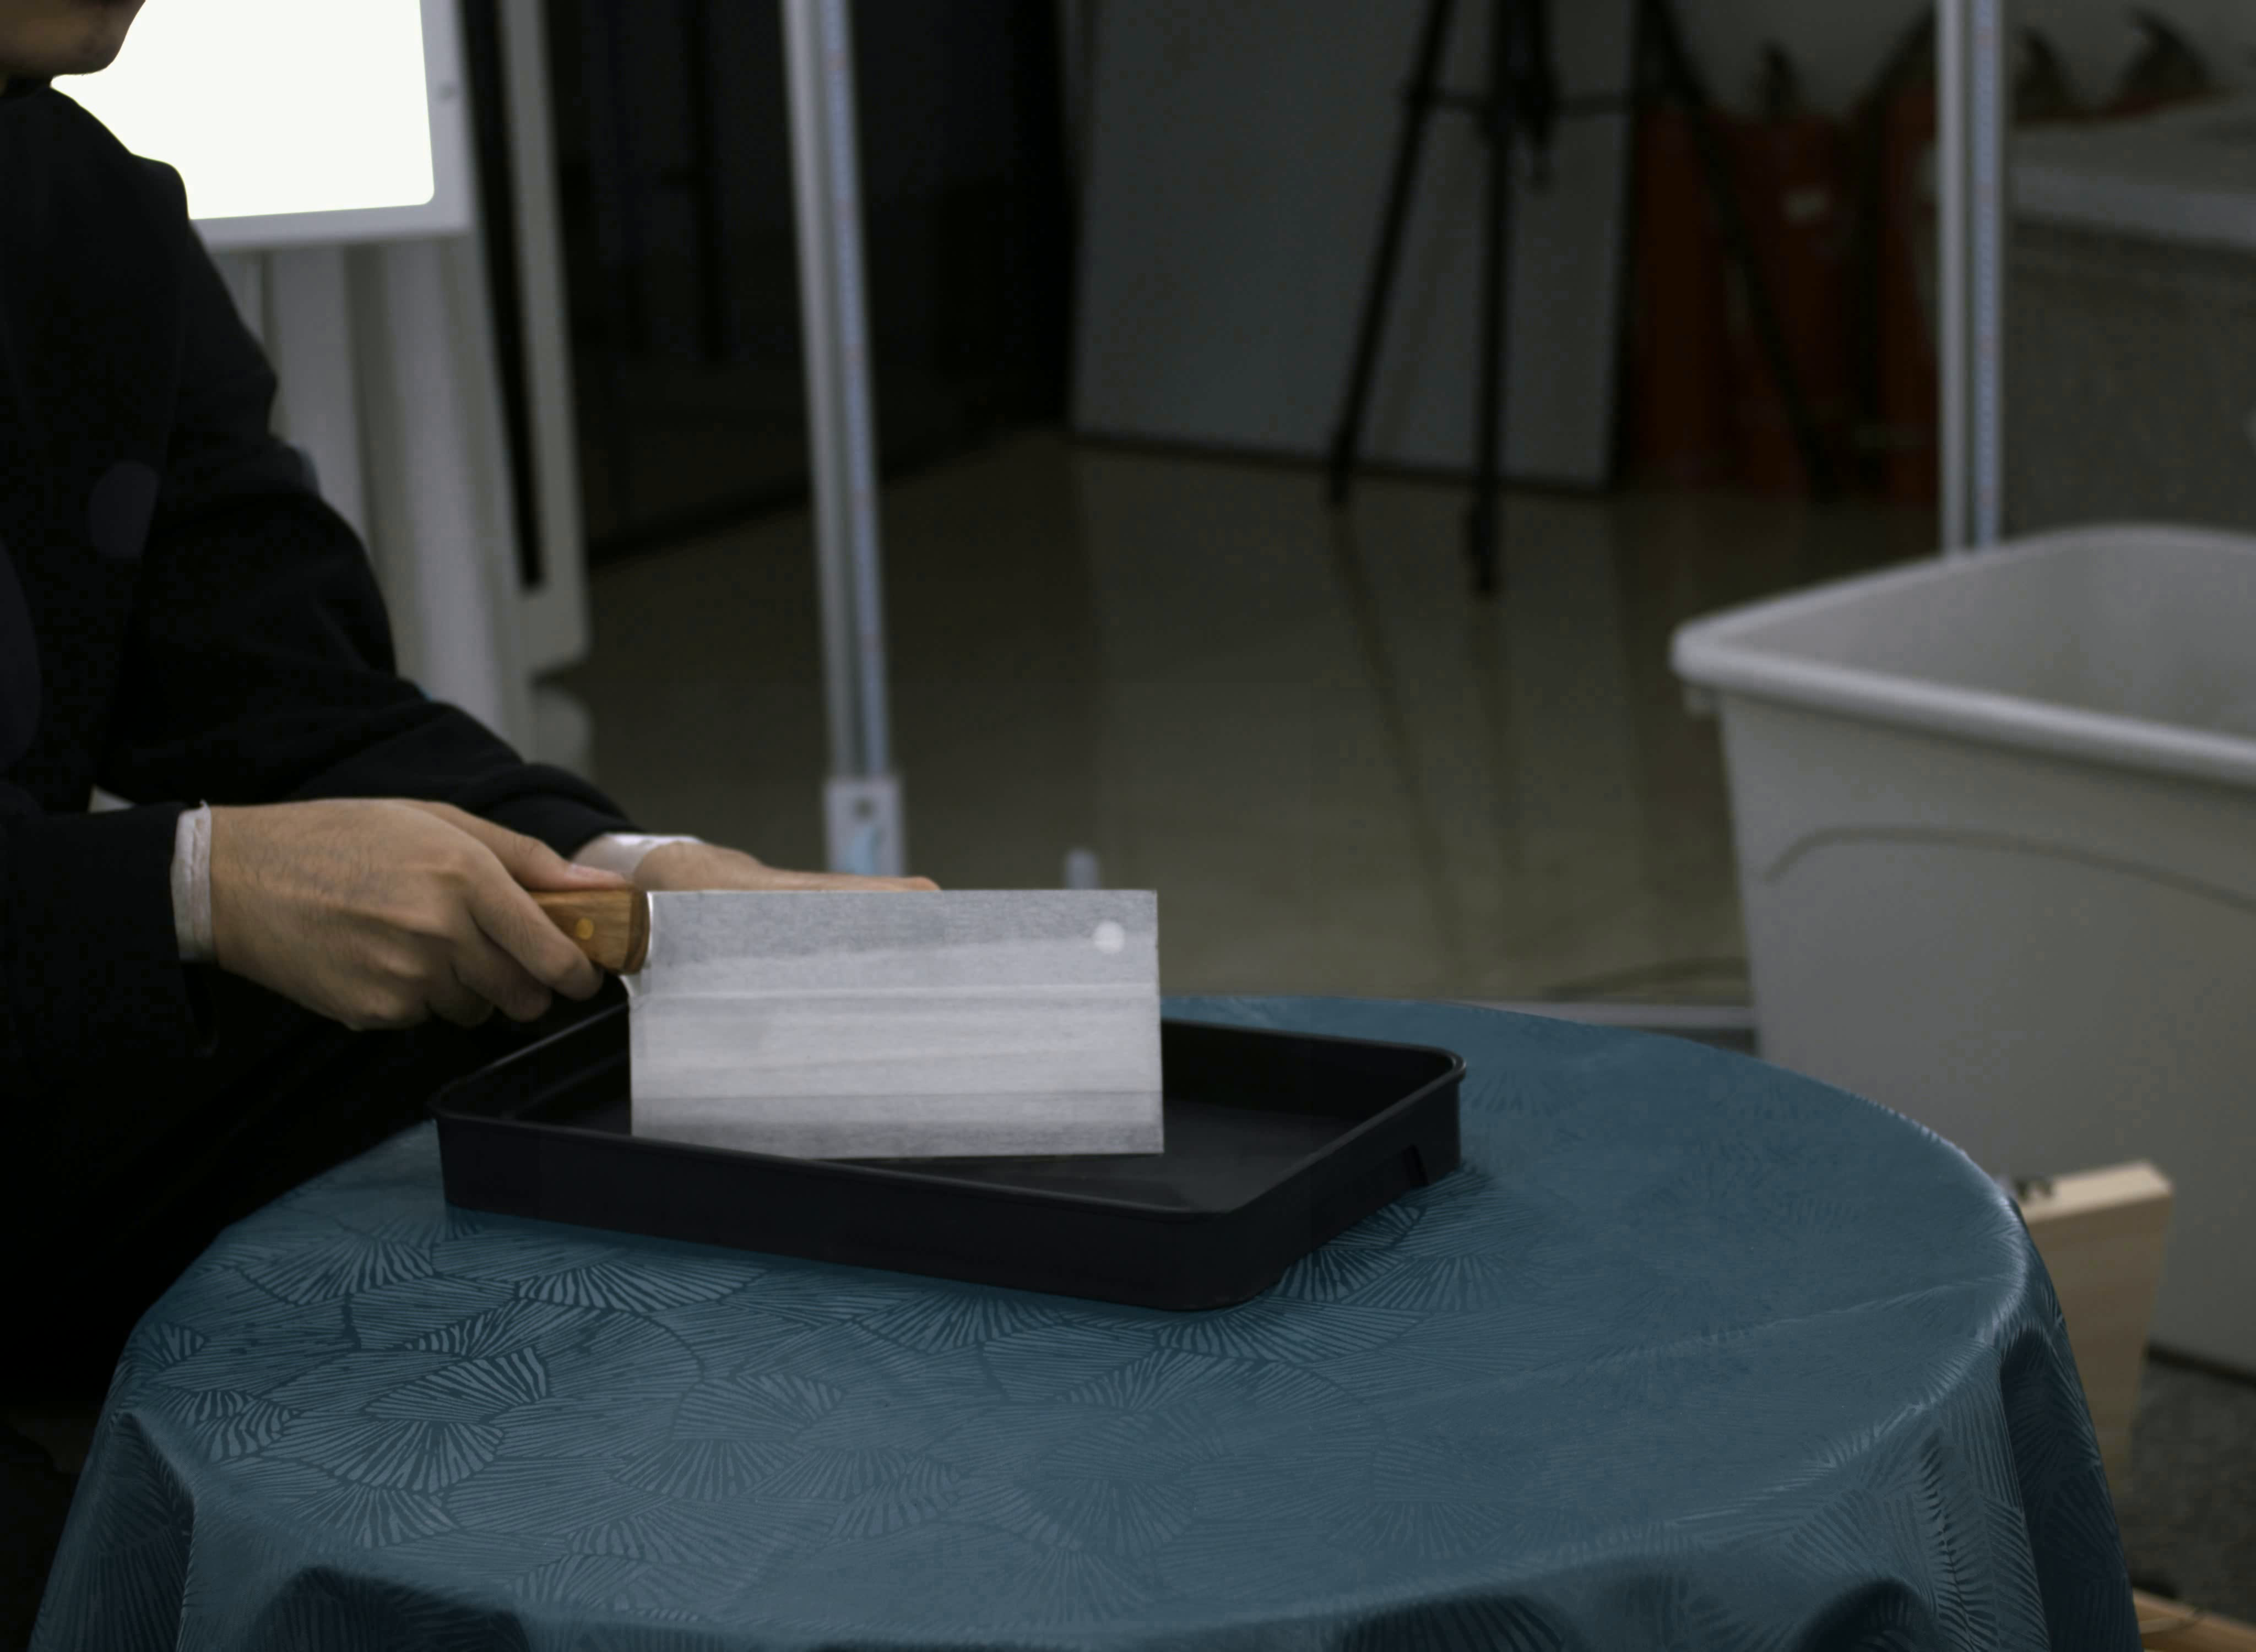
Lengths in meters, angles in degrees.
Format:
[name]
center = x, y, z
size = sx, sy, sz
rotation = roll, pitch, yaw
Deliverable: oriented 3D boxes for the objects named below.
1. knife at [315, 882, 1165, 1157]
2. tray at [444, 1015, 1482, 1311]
[knife]
center = -0.132, 0.066, 1.813
size = 0.305, 0.094, 0.021
rotation = -1, 3, 19
[tray]
center = -0.054, 0.102, 1.789
size = 0.319, 0.037, 0.181
rotation = 4, 16, 30
